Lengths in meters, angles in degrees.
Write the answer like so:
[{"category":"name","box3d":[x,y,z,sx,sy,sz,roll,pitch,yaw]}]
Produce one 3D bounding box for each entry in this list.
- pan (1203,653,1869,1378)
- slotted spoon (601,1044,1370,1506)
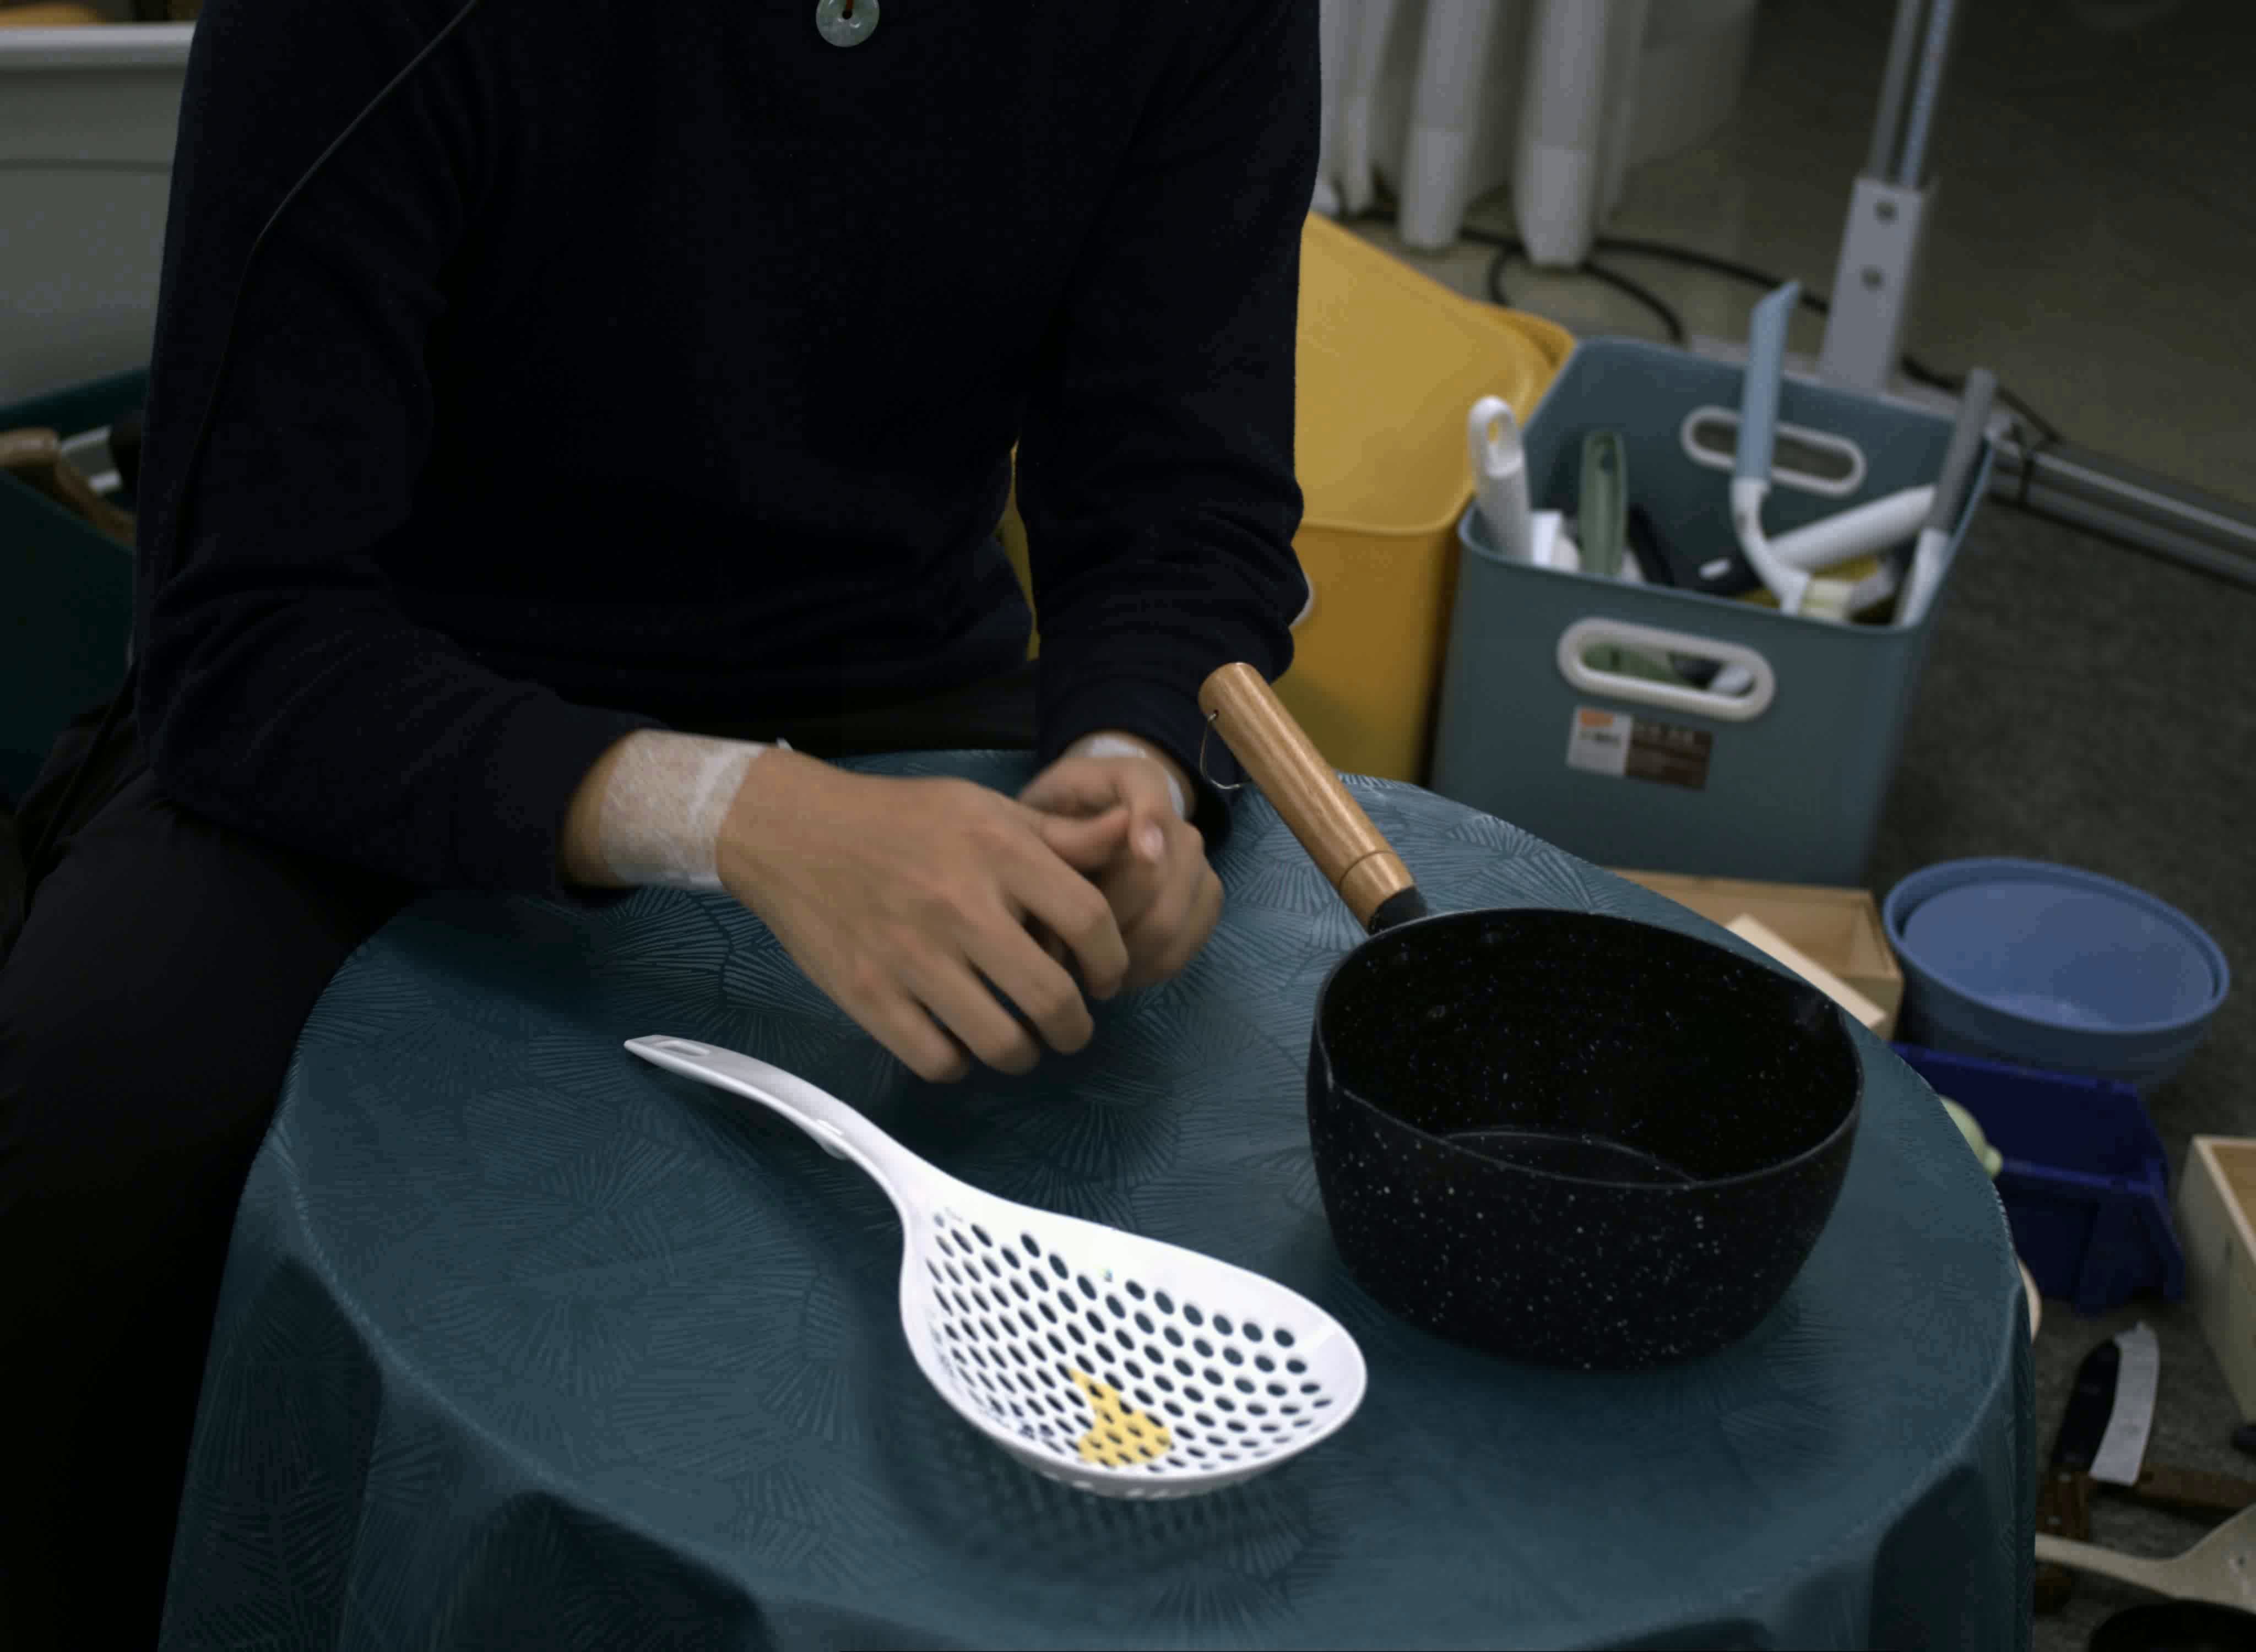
[{"category":"pan","box3d":[0.111,0.062,1.830,0.206,0.108,0.346,-11,33,-28]},{"category":"slotted spoon","box3d":[-0.064,0.132,1.724,0.136,0.050,0.351,-16,36,-35]}]
